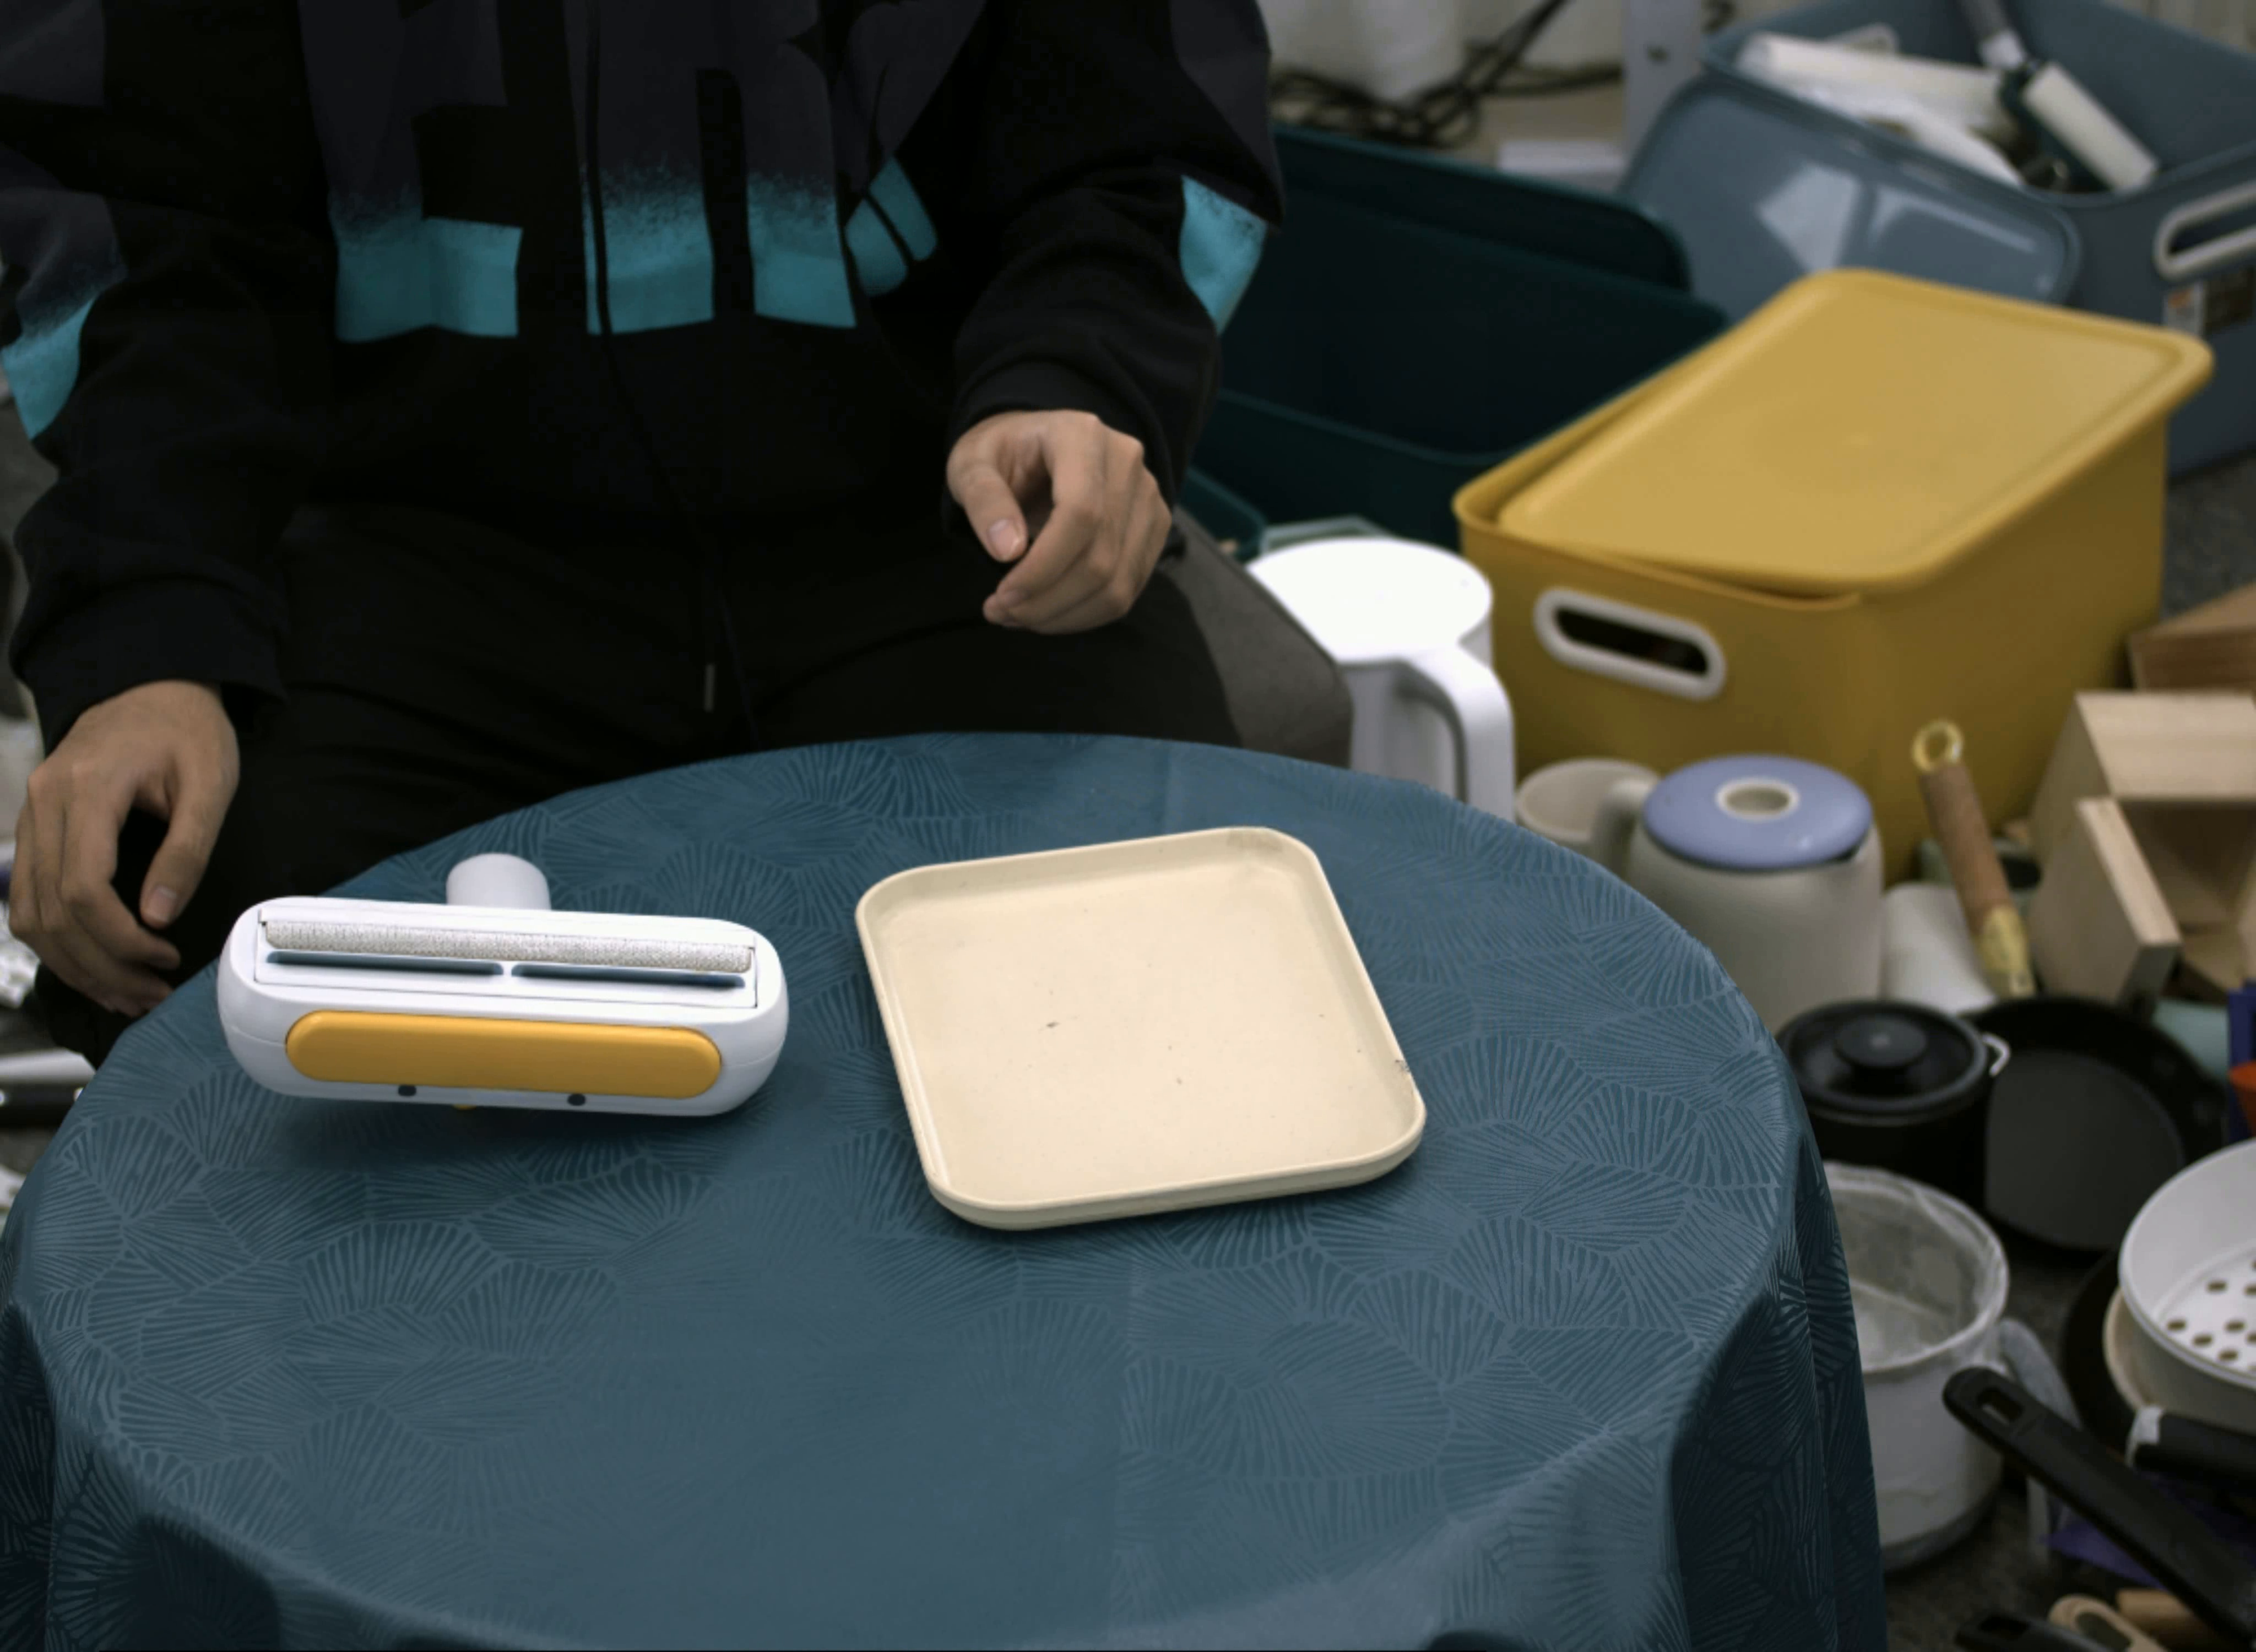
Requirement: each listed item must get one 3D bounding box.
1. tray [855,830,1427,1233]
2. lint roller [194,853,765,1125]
[{"bbox_3d":[0.001,0.070,1.941,0.171,0.017,0.242,-7,28,-7],"label":"tray"},{"bbox_3d":[-0.222,0.043,1.962,0.192,0.073,0.195,1,25,-4],"label":"lint roller"}]
